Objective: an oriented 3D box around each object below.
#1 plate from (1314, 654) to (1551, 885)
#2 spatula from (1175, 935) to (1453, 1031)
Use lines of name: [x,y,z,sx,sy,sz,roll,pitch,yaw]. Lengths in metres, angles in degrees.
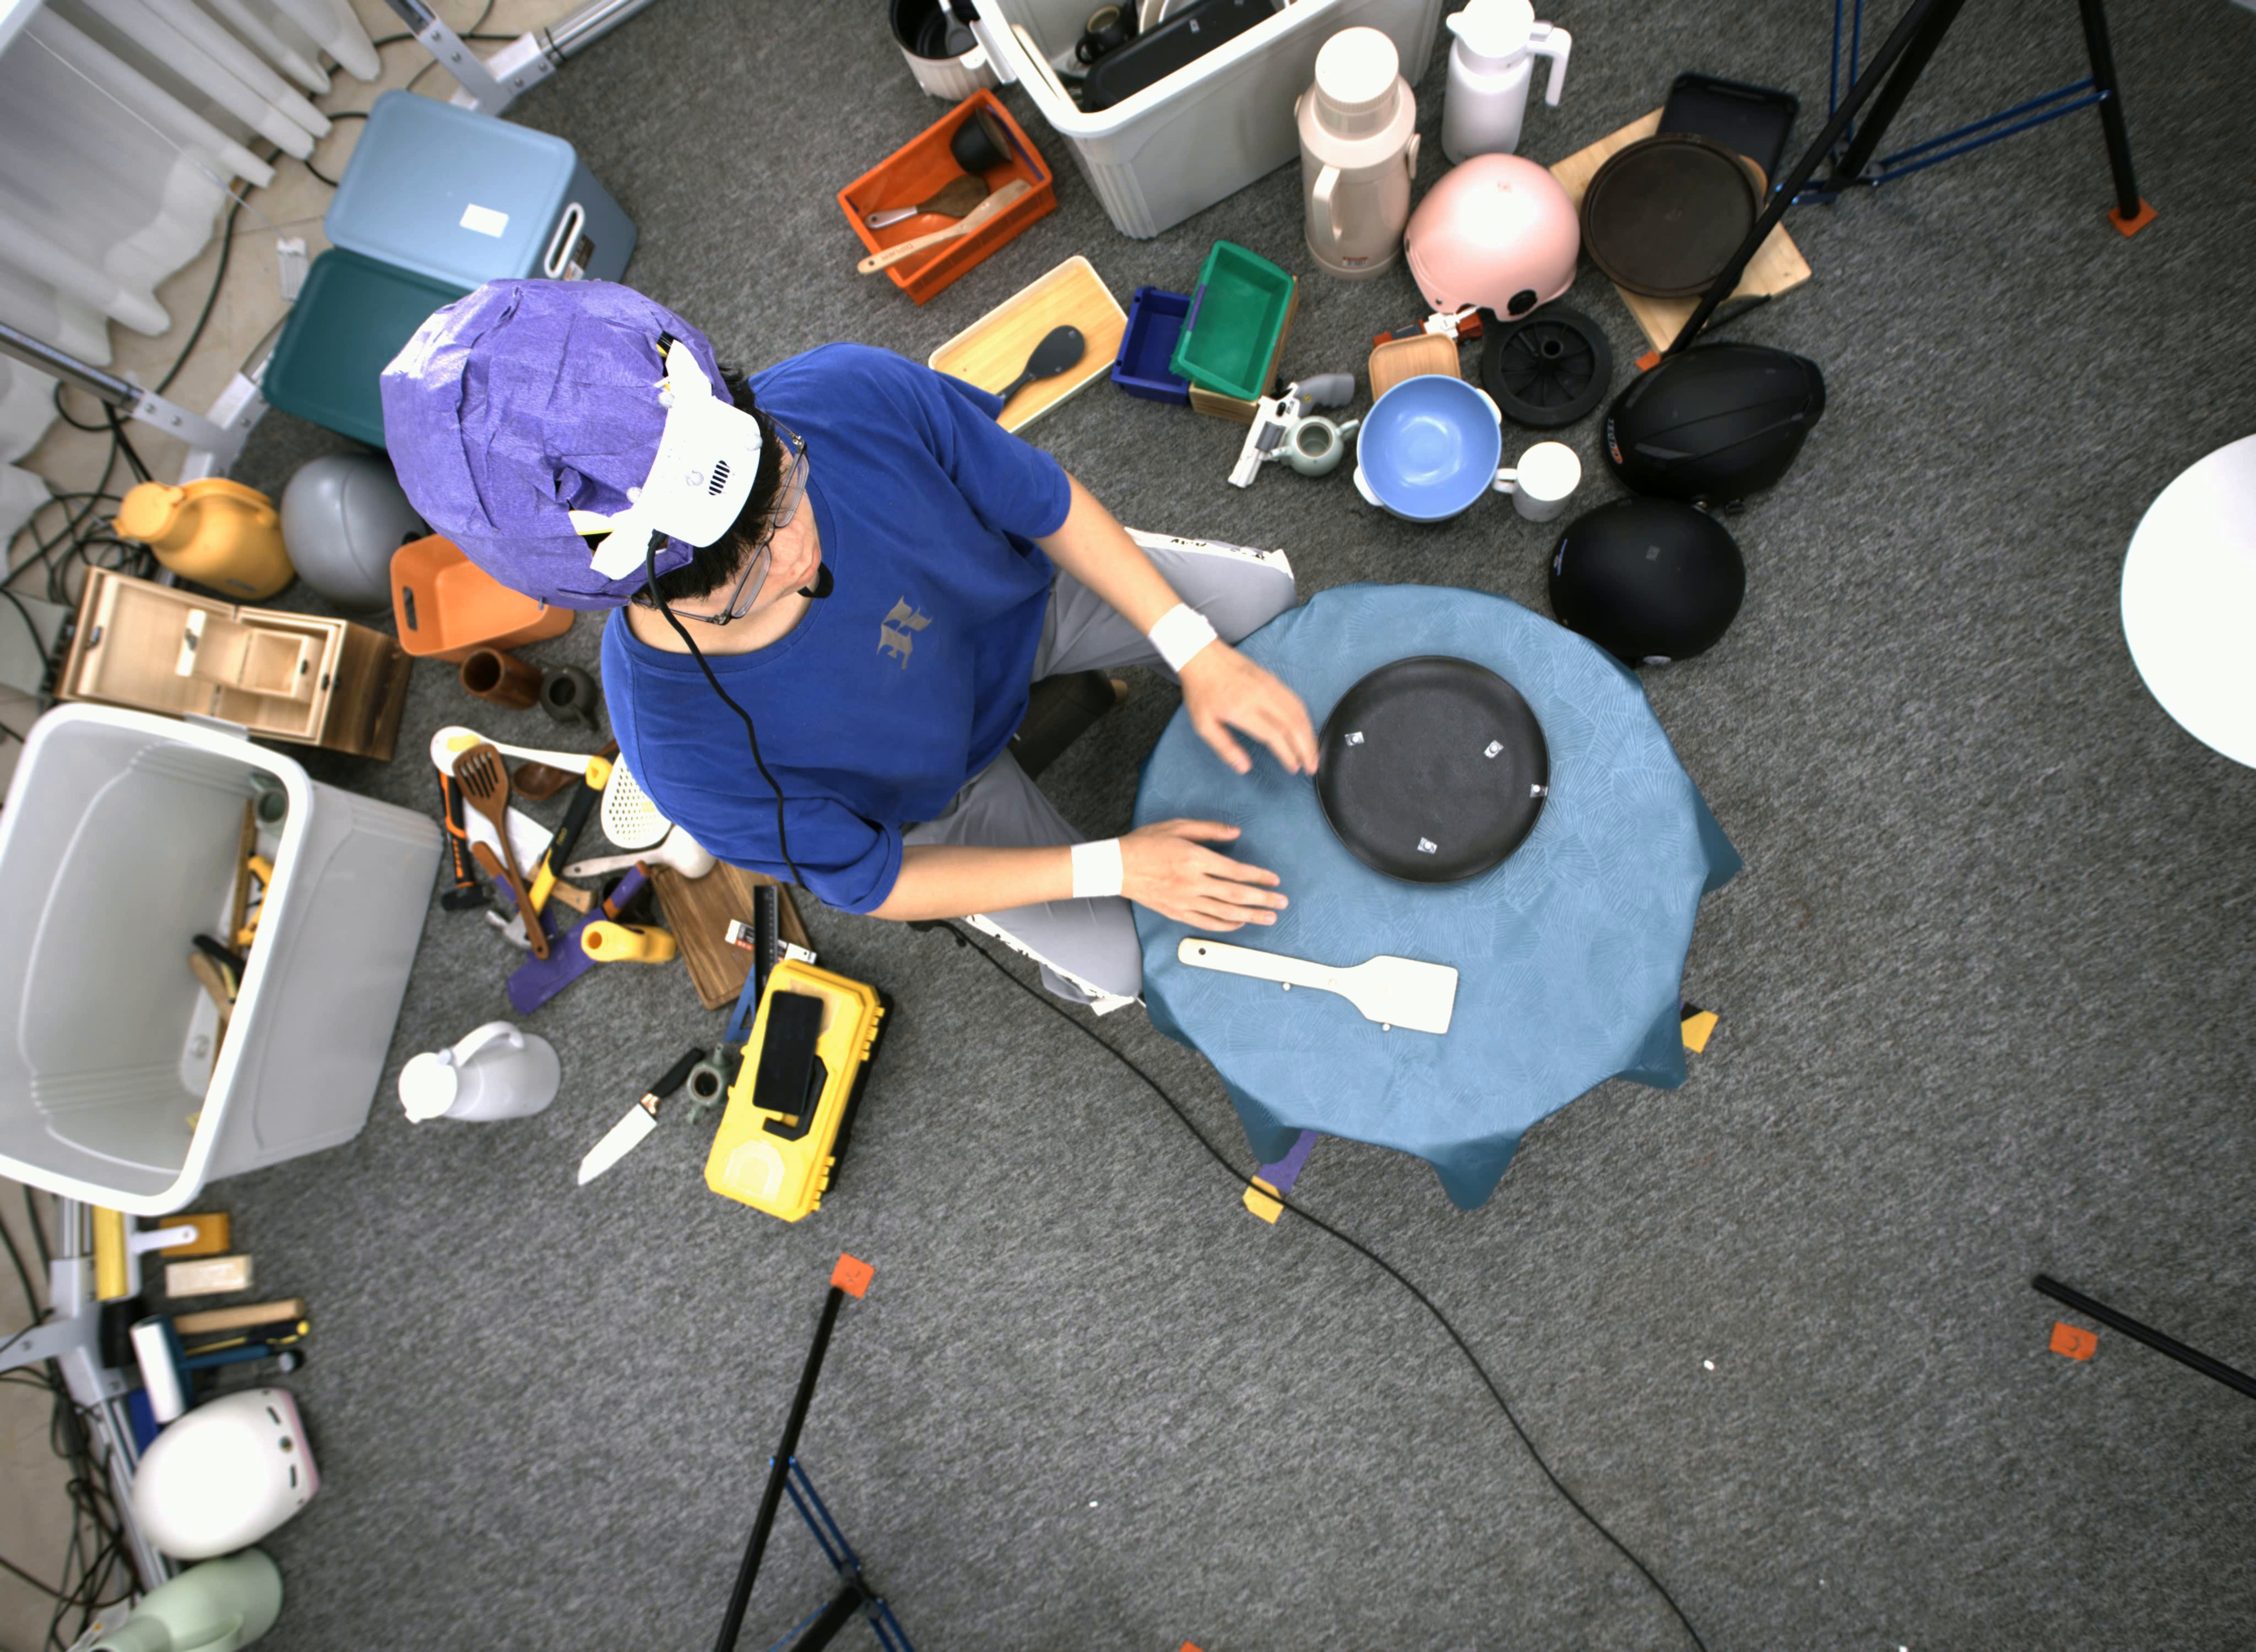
plate: [0.318,-0.060,1.444,0.245,0.023,0.243,-1,87,11]
spatula: [0.193,0.155,1.464,0.293,0.010,0.072,10,90,11]
